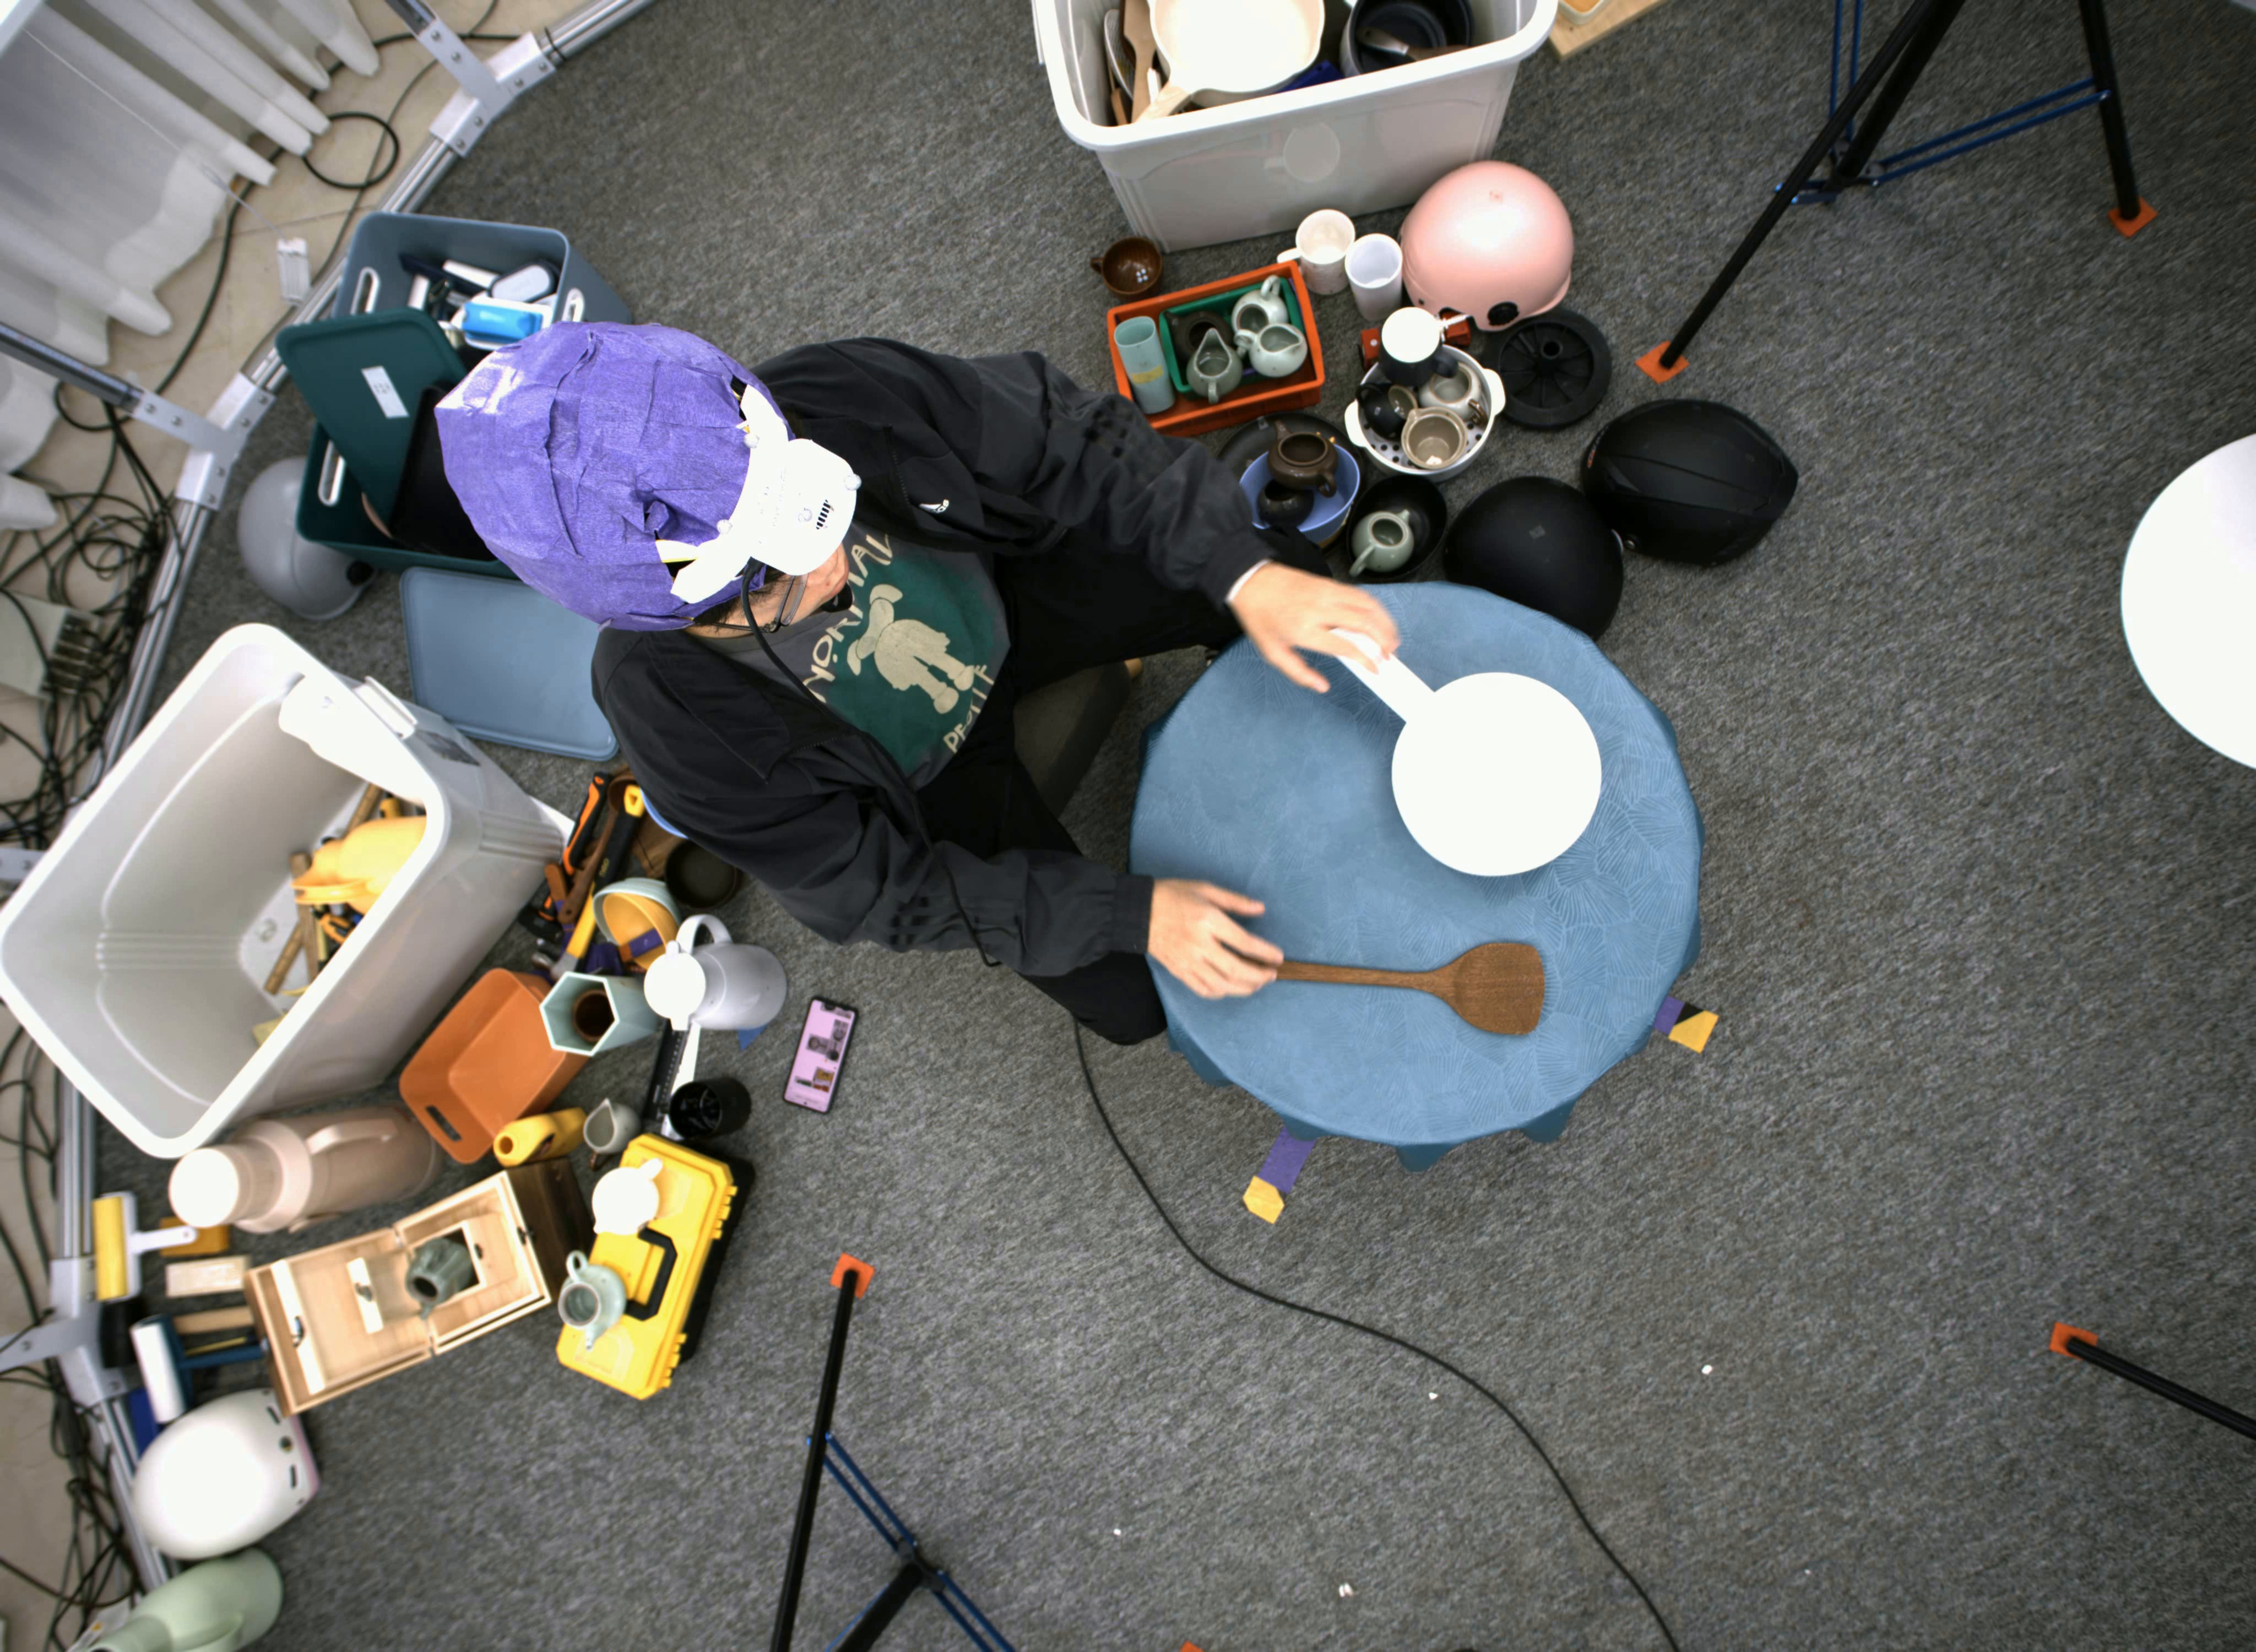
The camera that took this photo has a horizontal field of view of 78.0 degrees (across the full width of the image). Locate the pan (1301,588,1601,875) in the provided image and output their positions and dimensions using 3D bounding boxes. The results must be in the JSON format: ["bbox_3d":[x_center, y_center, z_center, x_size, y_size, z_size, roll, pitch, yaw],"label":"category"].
[{"bbox_3d":[0.317,-0.103,1.409,0.353,0.102,0.202,45,95,11],"label":"pan"}]

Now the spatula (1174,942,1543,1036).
[{"bbox_3d":[0.238,0.156,1.453,0.387,0.016,0.096,3,87,11],"label":"spatula"}]
